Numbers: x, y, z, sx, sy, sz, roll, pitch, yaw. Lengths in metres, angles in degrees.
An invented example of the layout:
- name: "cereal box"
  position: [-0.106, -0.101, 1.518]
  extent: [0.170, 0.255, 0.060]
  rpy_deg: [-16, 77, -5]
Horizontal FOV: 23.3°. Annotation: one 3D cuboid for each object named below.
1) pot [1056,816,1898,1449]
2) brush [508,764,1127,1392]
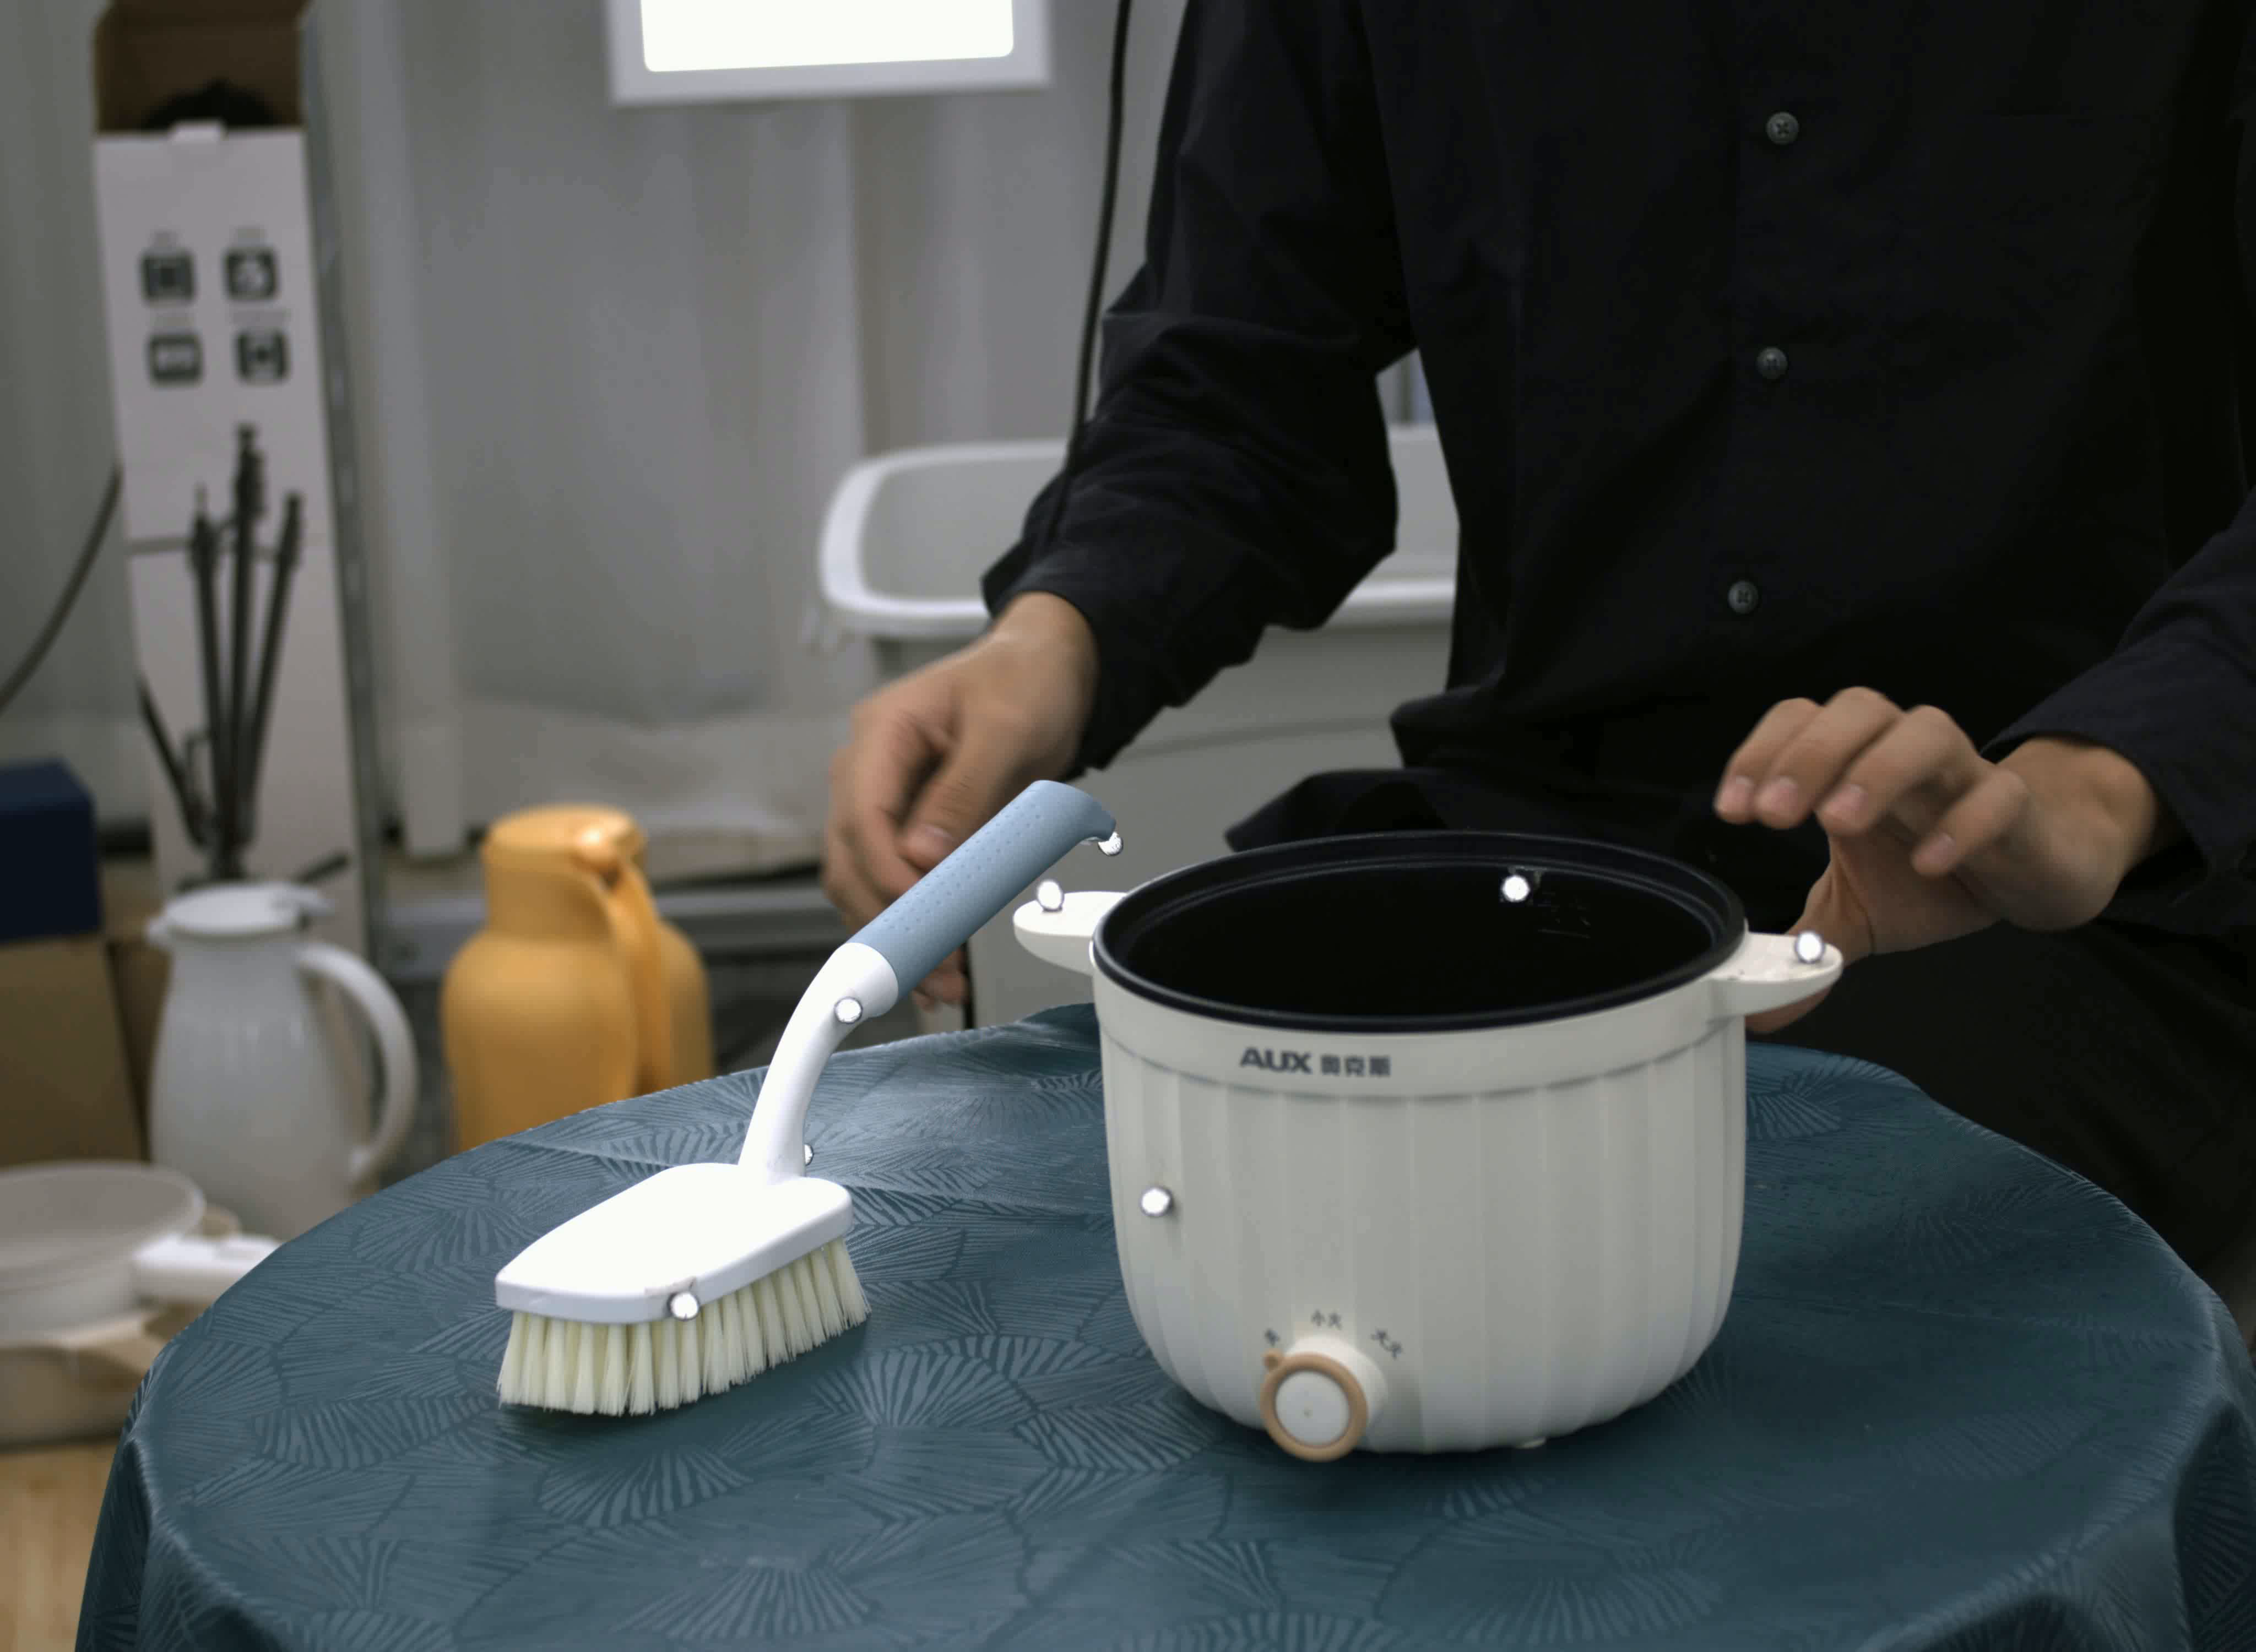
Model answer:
- name: "pot"
  position: [0.095, 0.087, 1.515]
  extent: [0.240, 0.142, 0.191]
  rpy_deg: [2, 13, 21]
- name: "brush"
  position: [-0.079, 0.090, 1.661]
  extent: [0.083, 0.084, 0.327]
  rpy_deg: [37, 41, 10]
